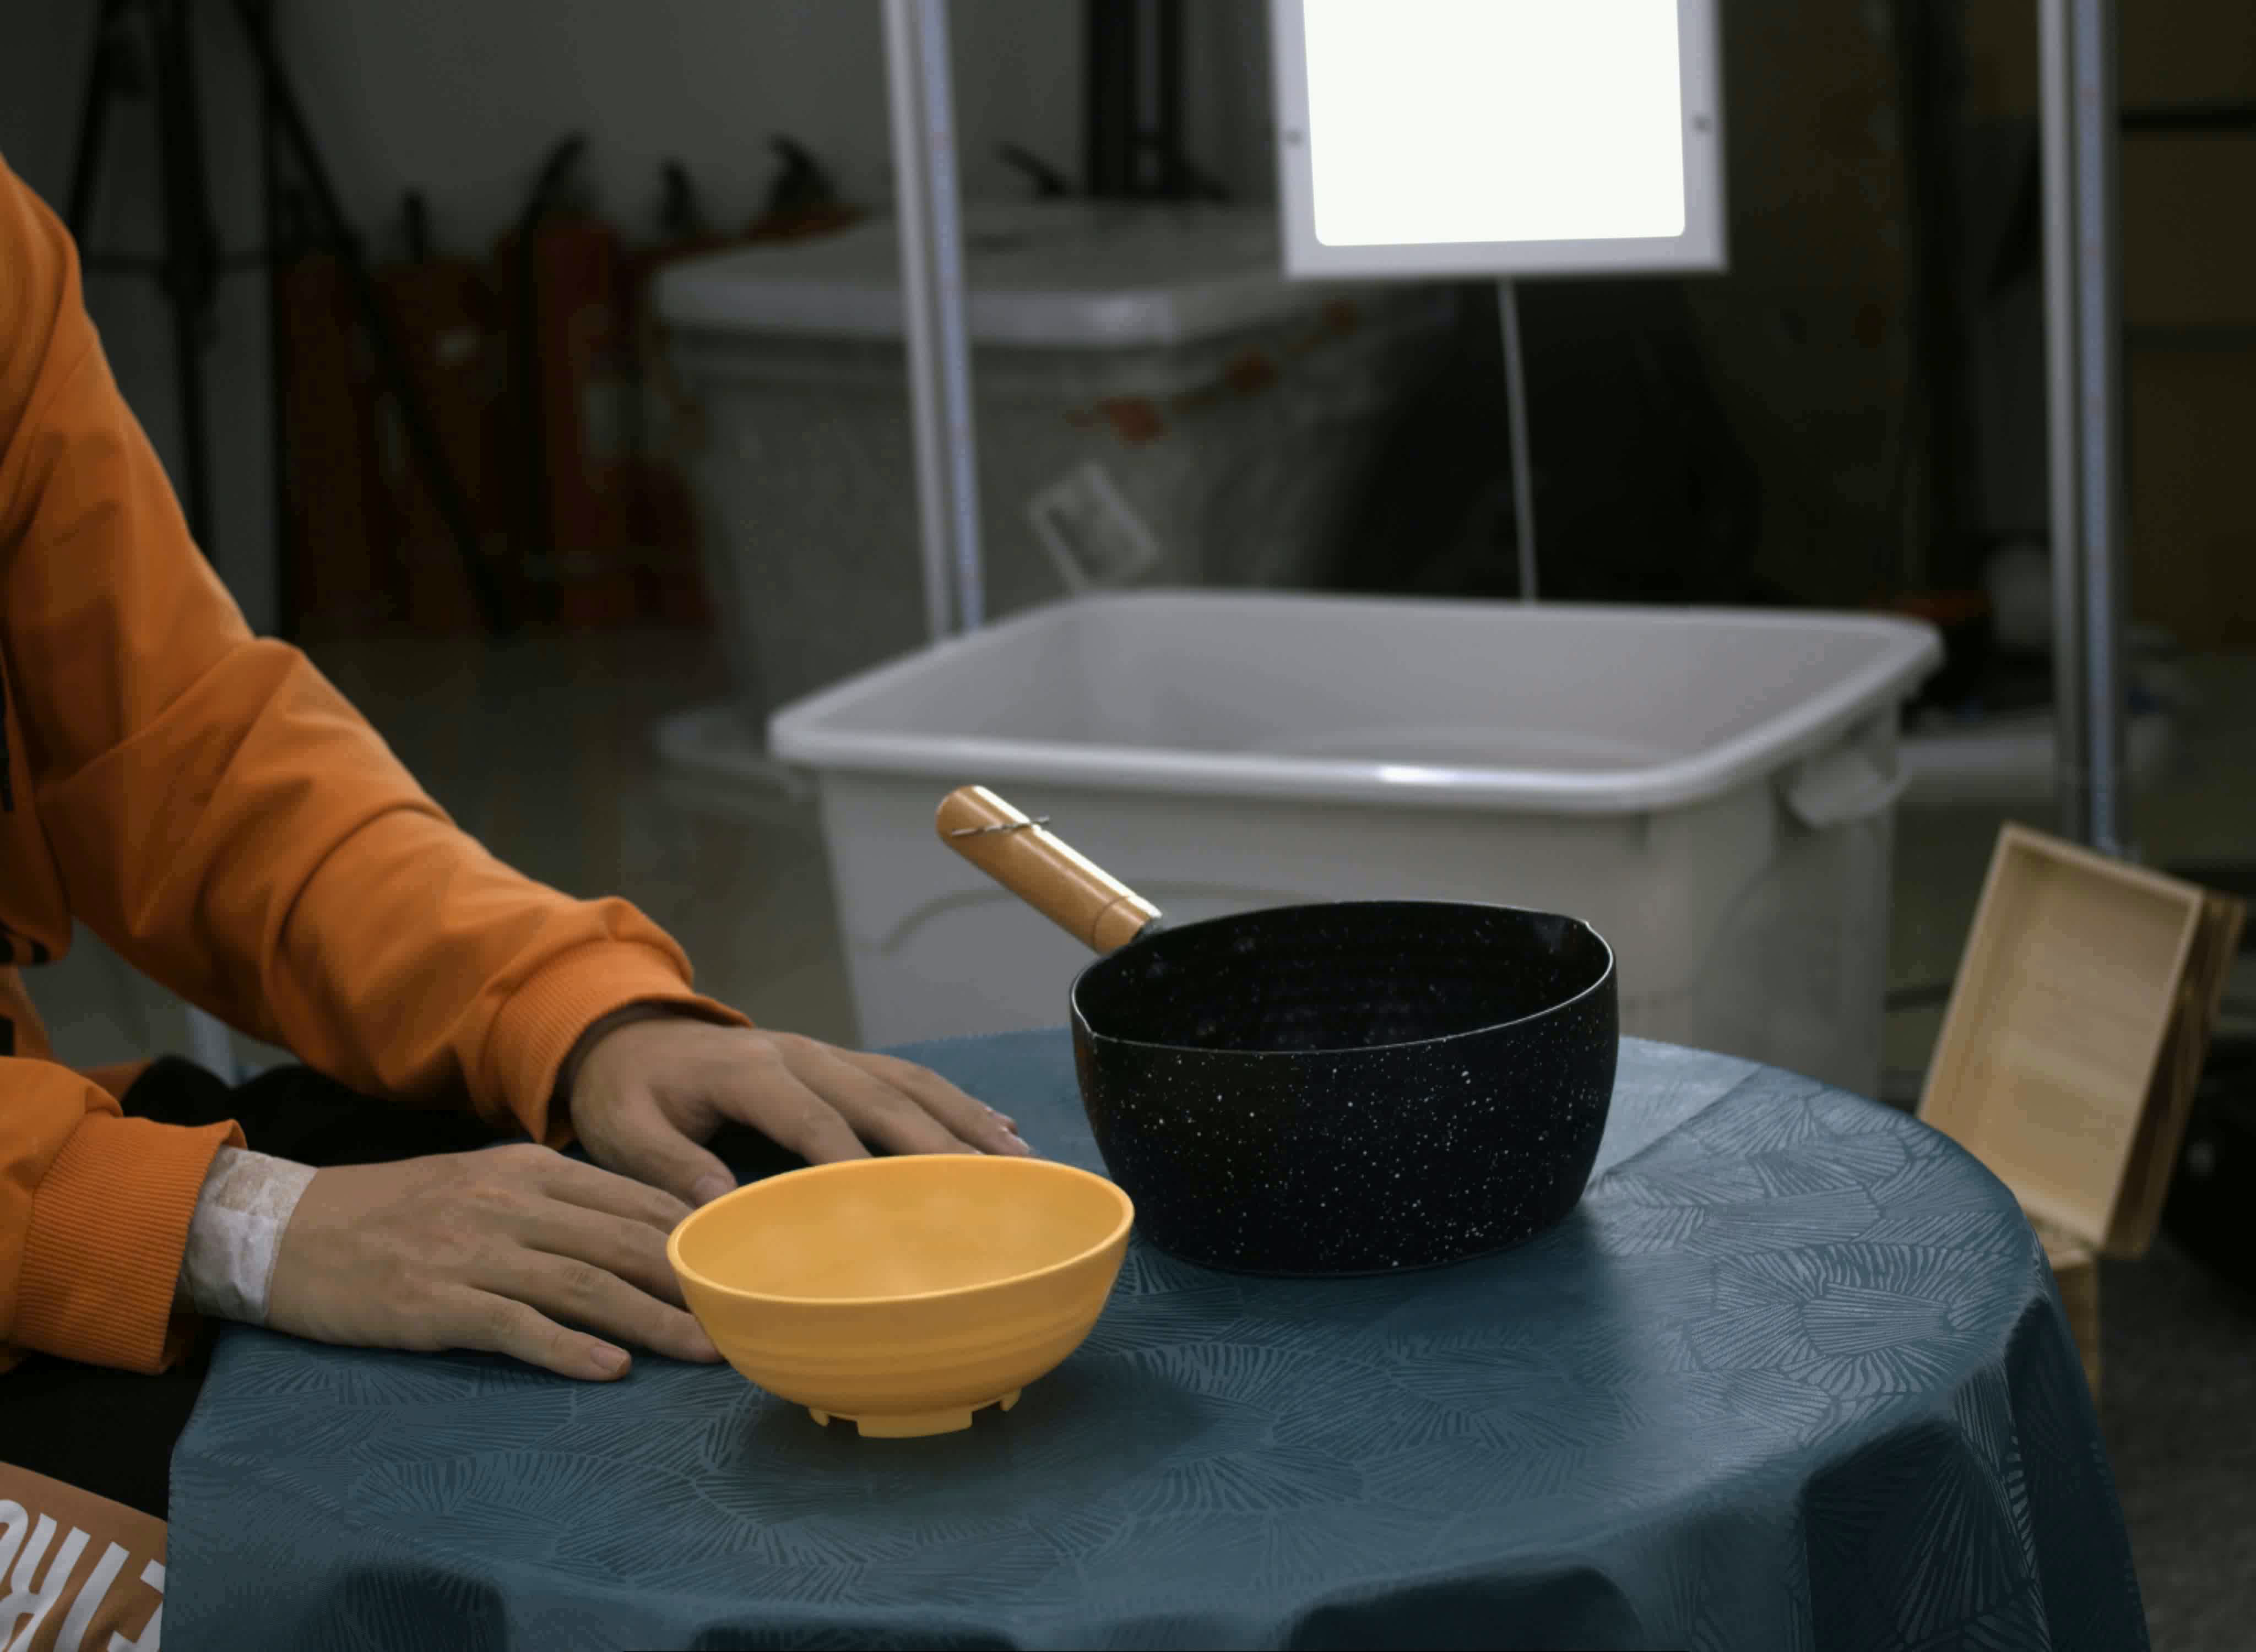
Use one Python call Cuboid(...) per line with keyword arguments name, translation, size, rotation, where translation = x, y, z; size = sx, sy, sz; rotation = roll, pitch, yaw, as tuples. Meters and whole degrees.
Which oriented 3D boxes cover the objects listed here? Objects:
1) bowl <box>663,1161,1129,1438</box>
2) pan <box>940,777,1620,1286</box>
Cuboid(name="bowl", translation=(-0.070, 0.151, 1.703), size=(0.145, 0.060, 0.145), rotation=(-4, 13, 0))
Cuboid(name="pan", translation=(0.030, 0.065, 1.910), size=(0.203, 0.108, 0.349), rotation=(-15, 18, -30))
